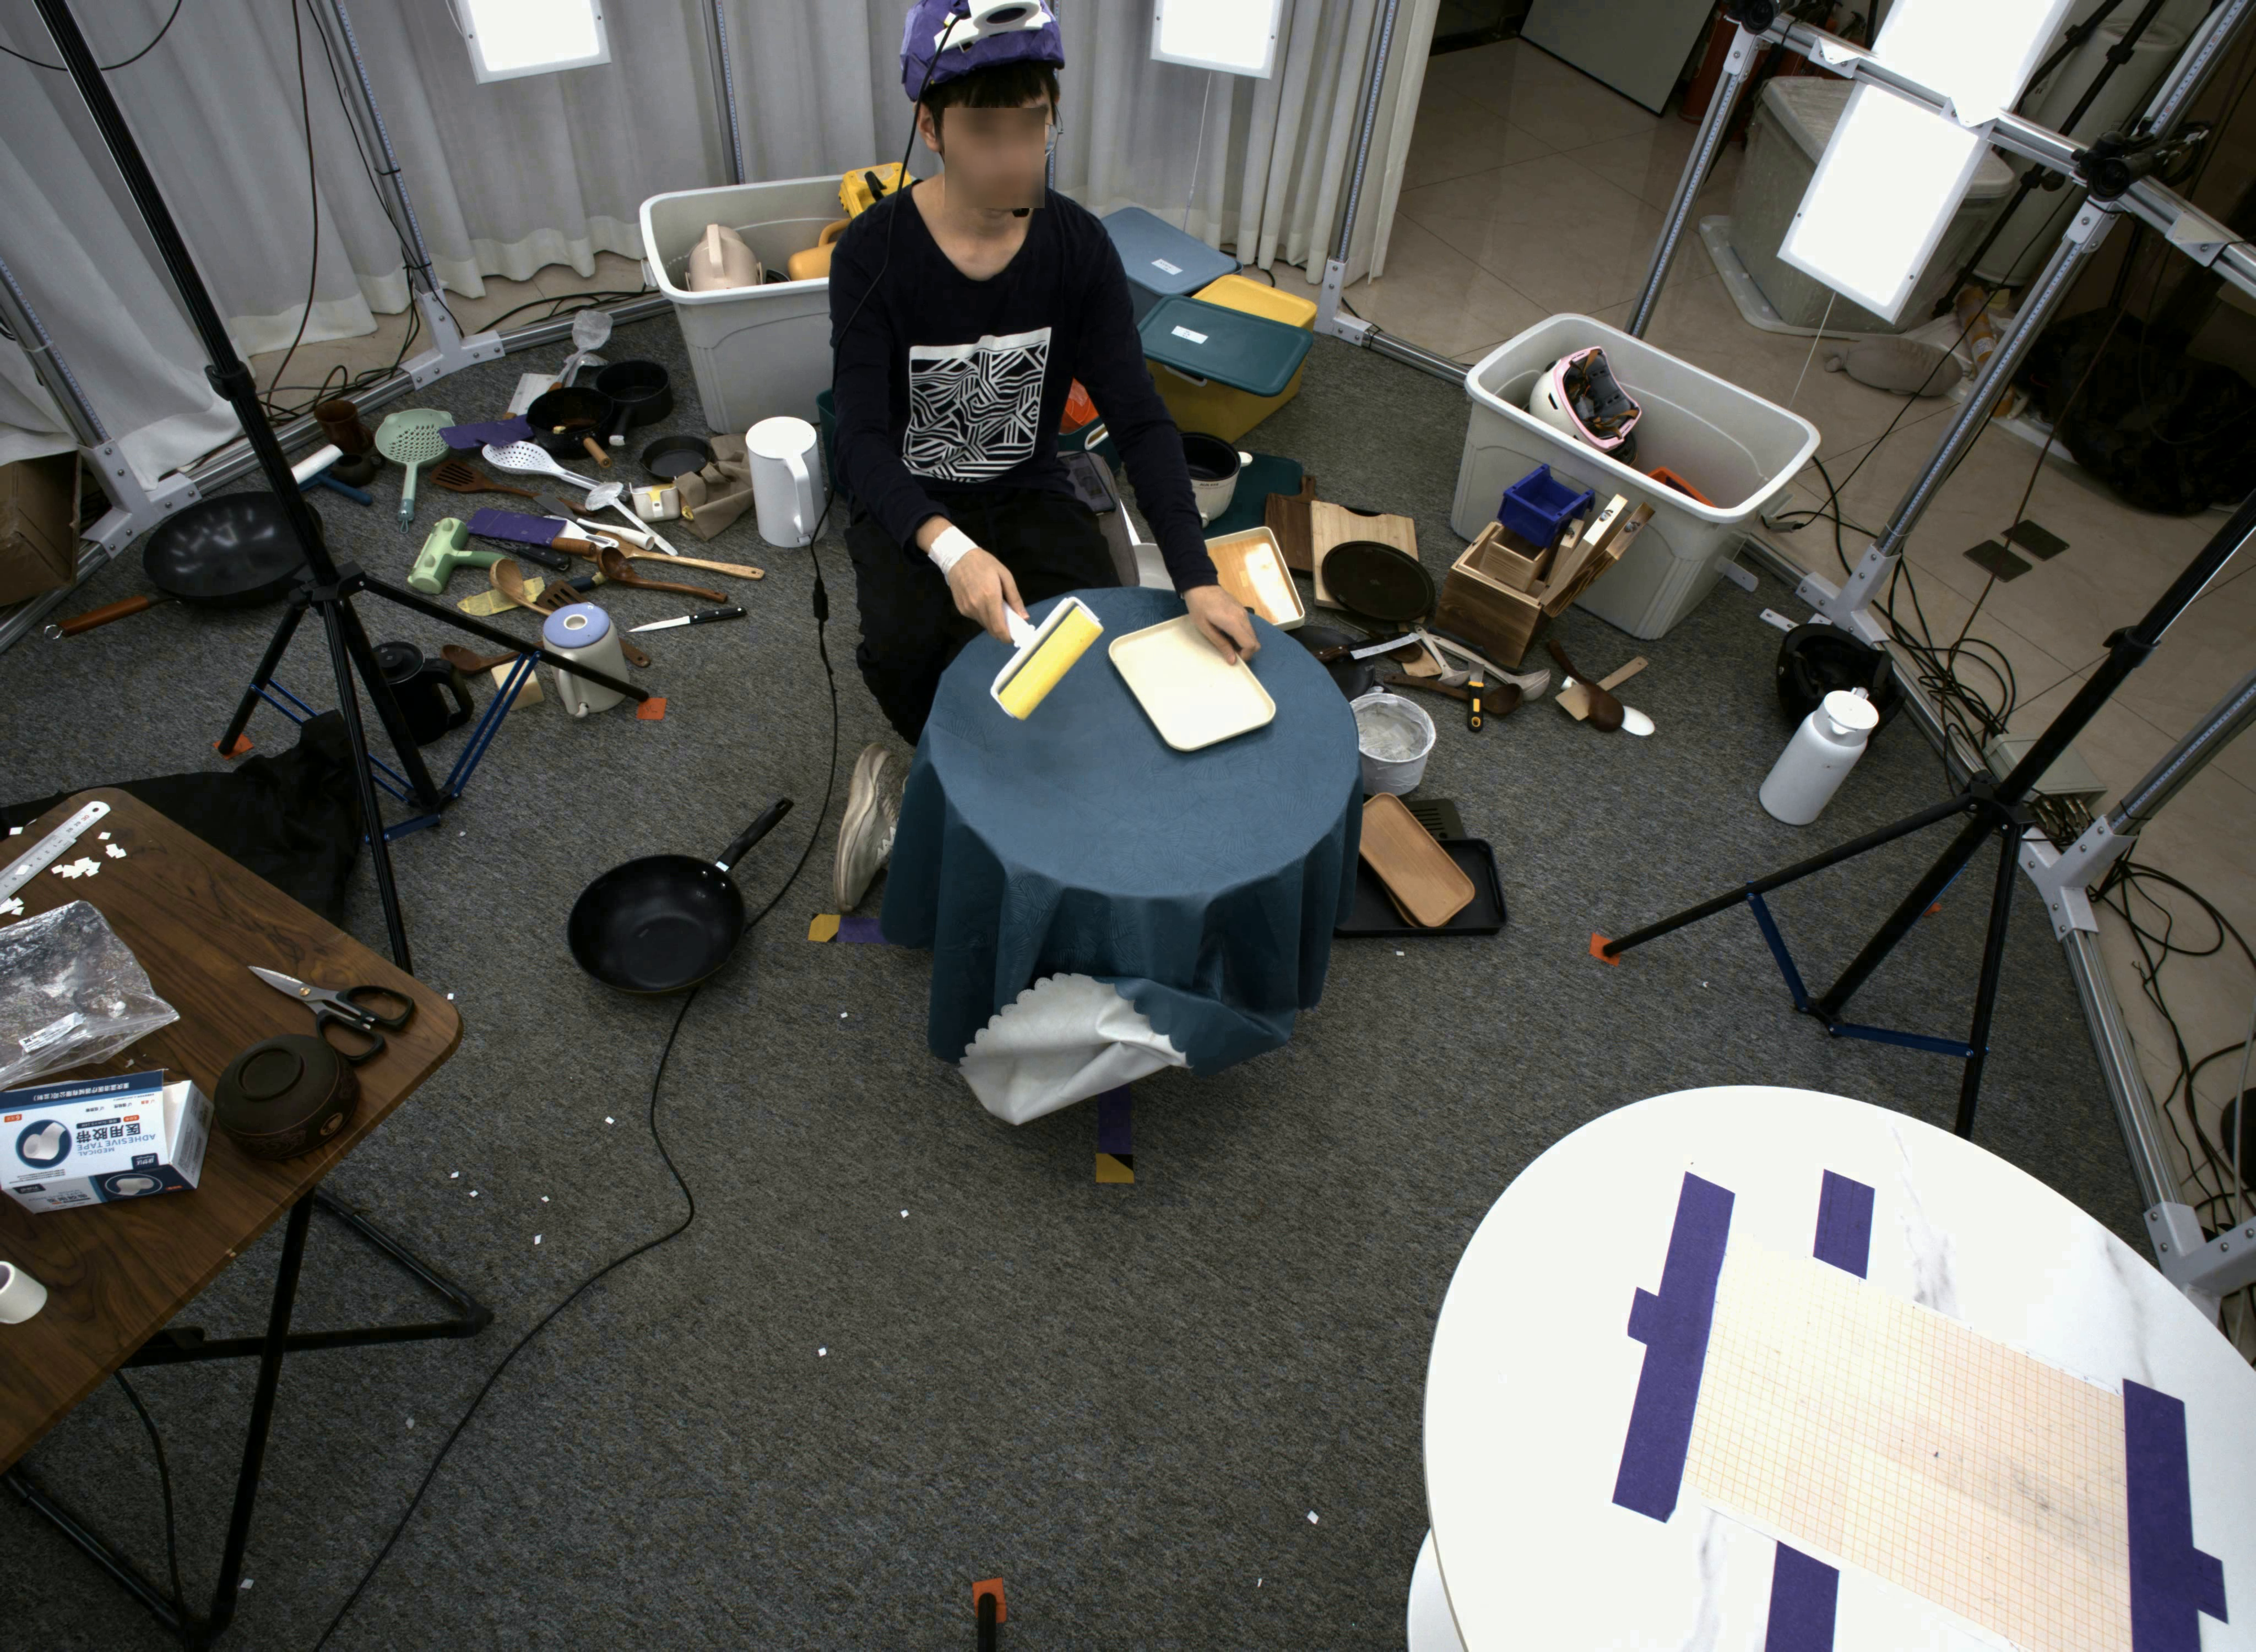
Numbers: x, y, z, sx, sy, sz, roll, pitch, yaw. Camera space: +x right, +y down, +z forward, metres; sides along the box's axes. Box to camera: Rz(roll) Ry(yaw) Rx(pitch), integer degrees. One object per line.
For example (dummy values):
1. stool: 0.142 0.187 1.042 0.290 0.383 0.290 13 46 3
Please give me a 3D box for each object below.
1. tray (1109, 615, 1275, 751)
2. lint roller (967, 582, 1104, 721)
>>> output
1. tray: 0.089 -0.206 1.837 0.171 0.017 0.245 -19 53 -17
2. lint roller: -0.152 -0.261 1.704 0.194 0.051 0.173 44 98 14
